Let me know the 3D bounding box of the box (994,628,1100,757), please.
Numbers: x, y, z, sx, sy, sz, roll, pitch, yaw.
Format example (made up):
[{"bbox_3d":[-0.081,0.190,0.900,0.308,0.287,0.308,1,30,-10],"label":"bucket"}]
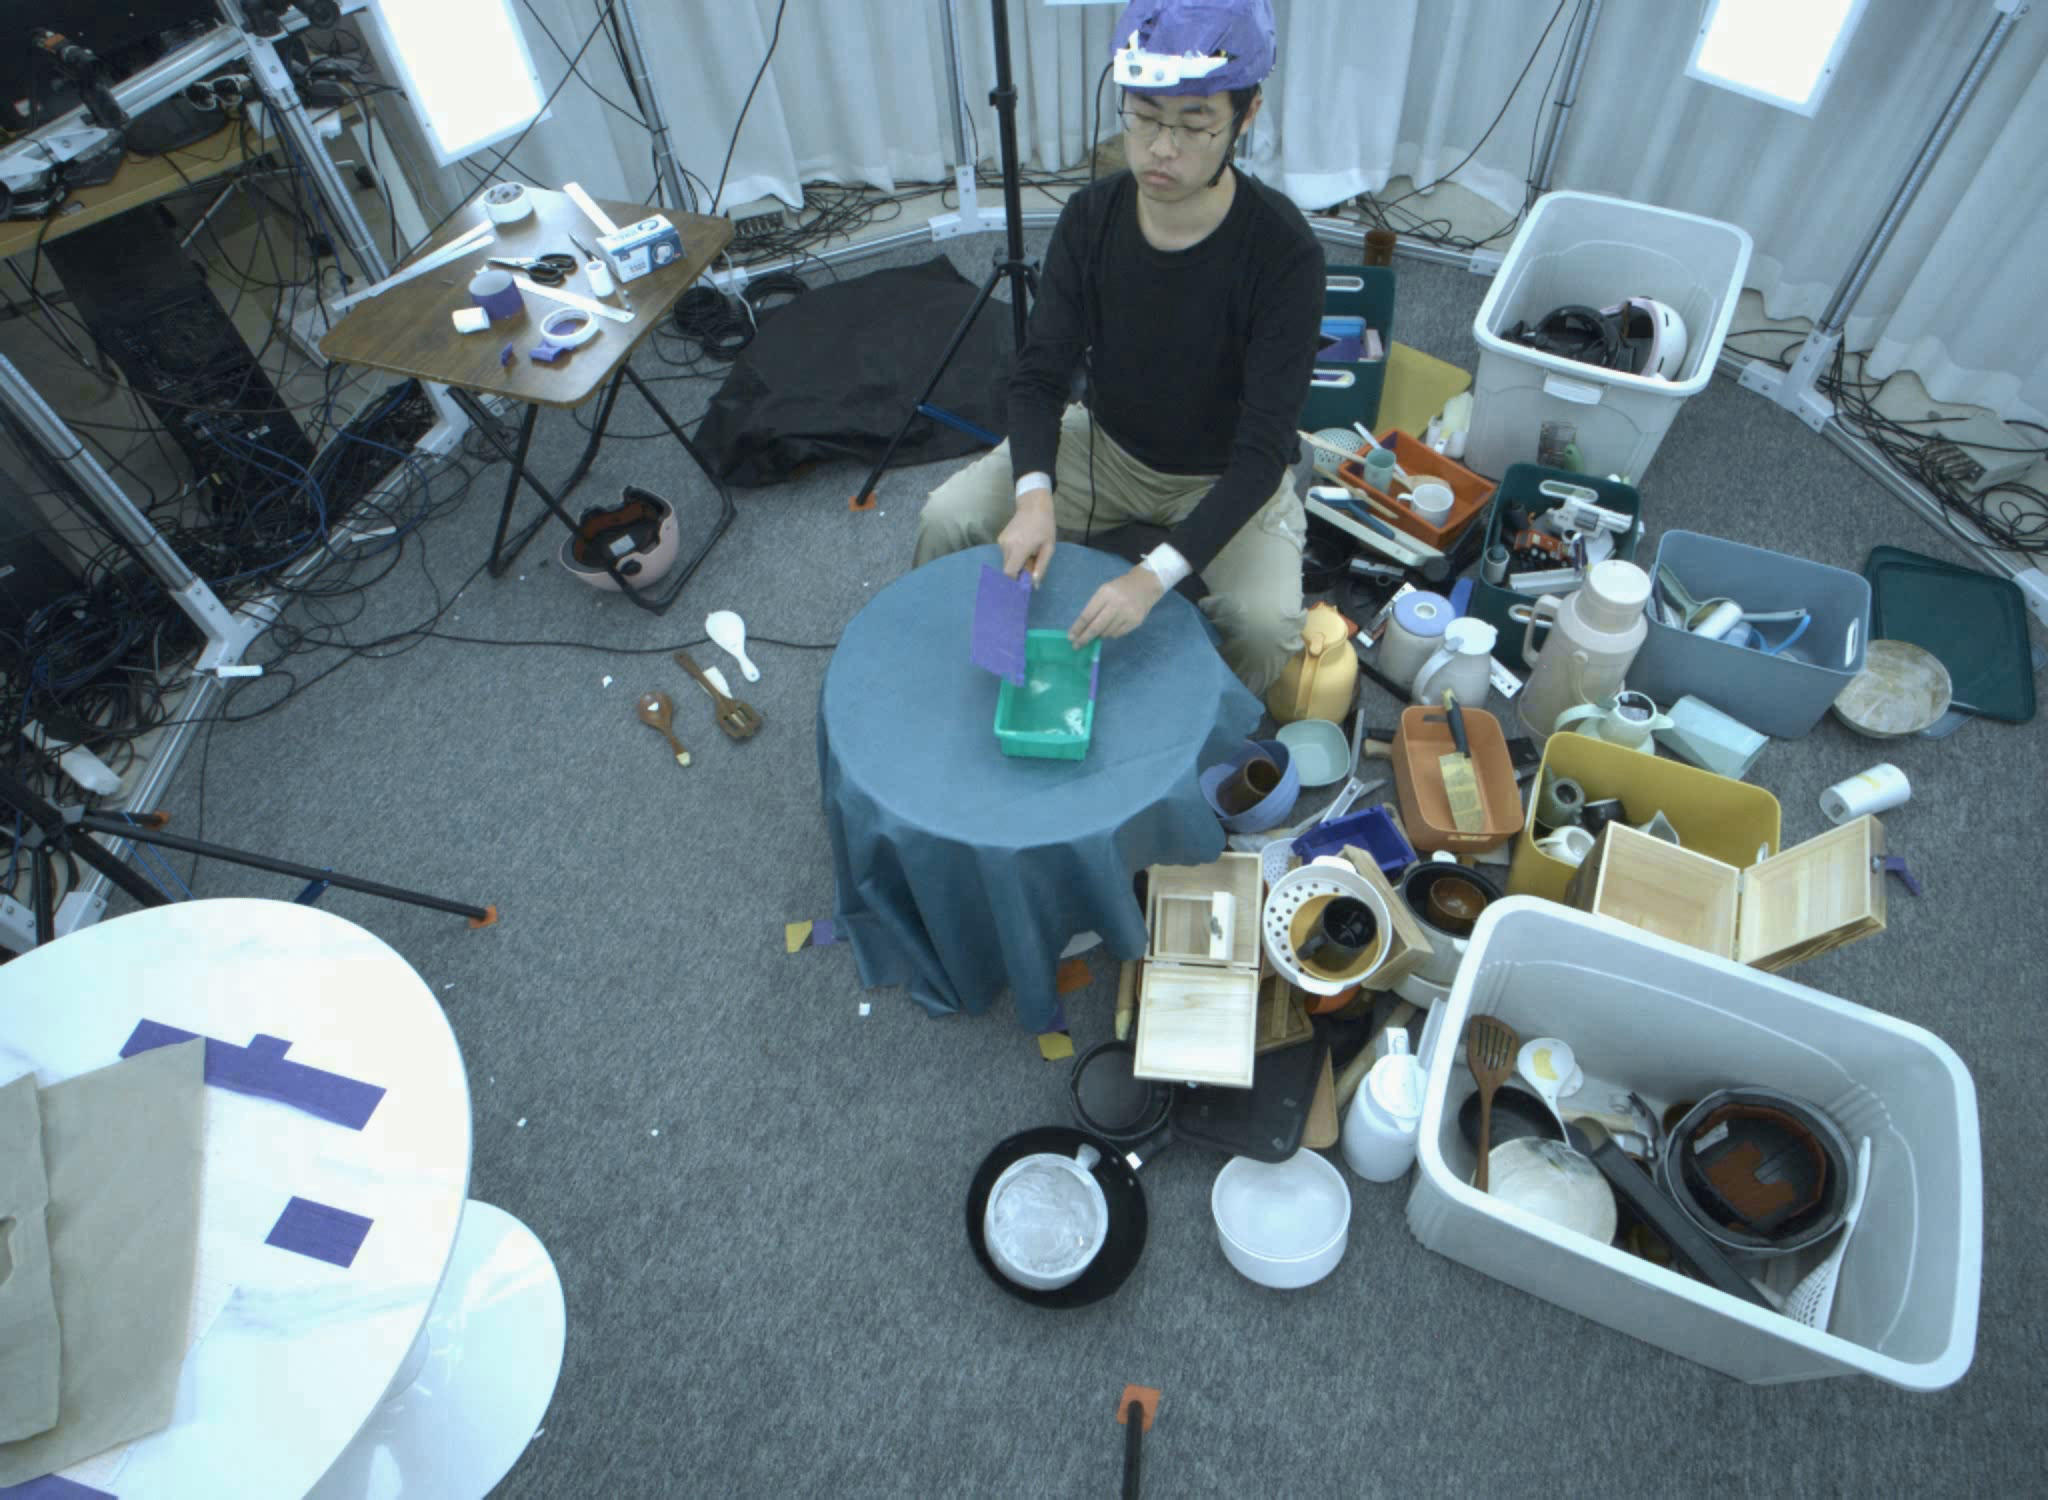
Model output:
[{"bbox_3d":[0.036,-0.081,1.806,0.138,0.066,0.209,4,53,4],"label":"box"}]

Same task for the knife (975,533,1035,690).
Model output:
[{"bbox_3d":[-0.027,-0.225,1.814,0.106,0.032,0.312,28,44,-27],"label":"knife"}]
